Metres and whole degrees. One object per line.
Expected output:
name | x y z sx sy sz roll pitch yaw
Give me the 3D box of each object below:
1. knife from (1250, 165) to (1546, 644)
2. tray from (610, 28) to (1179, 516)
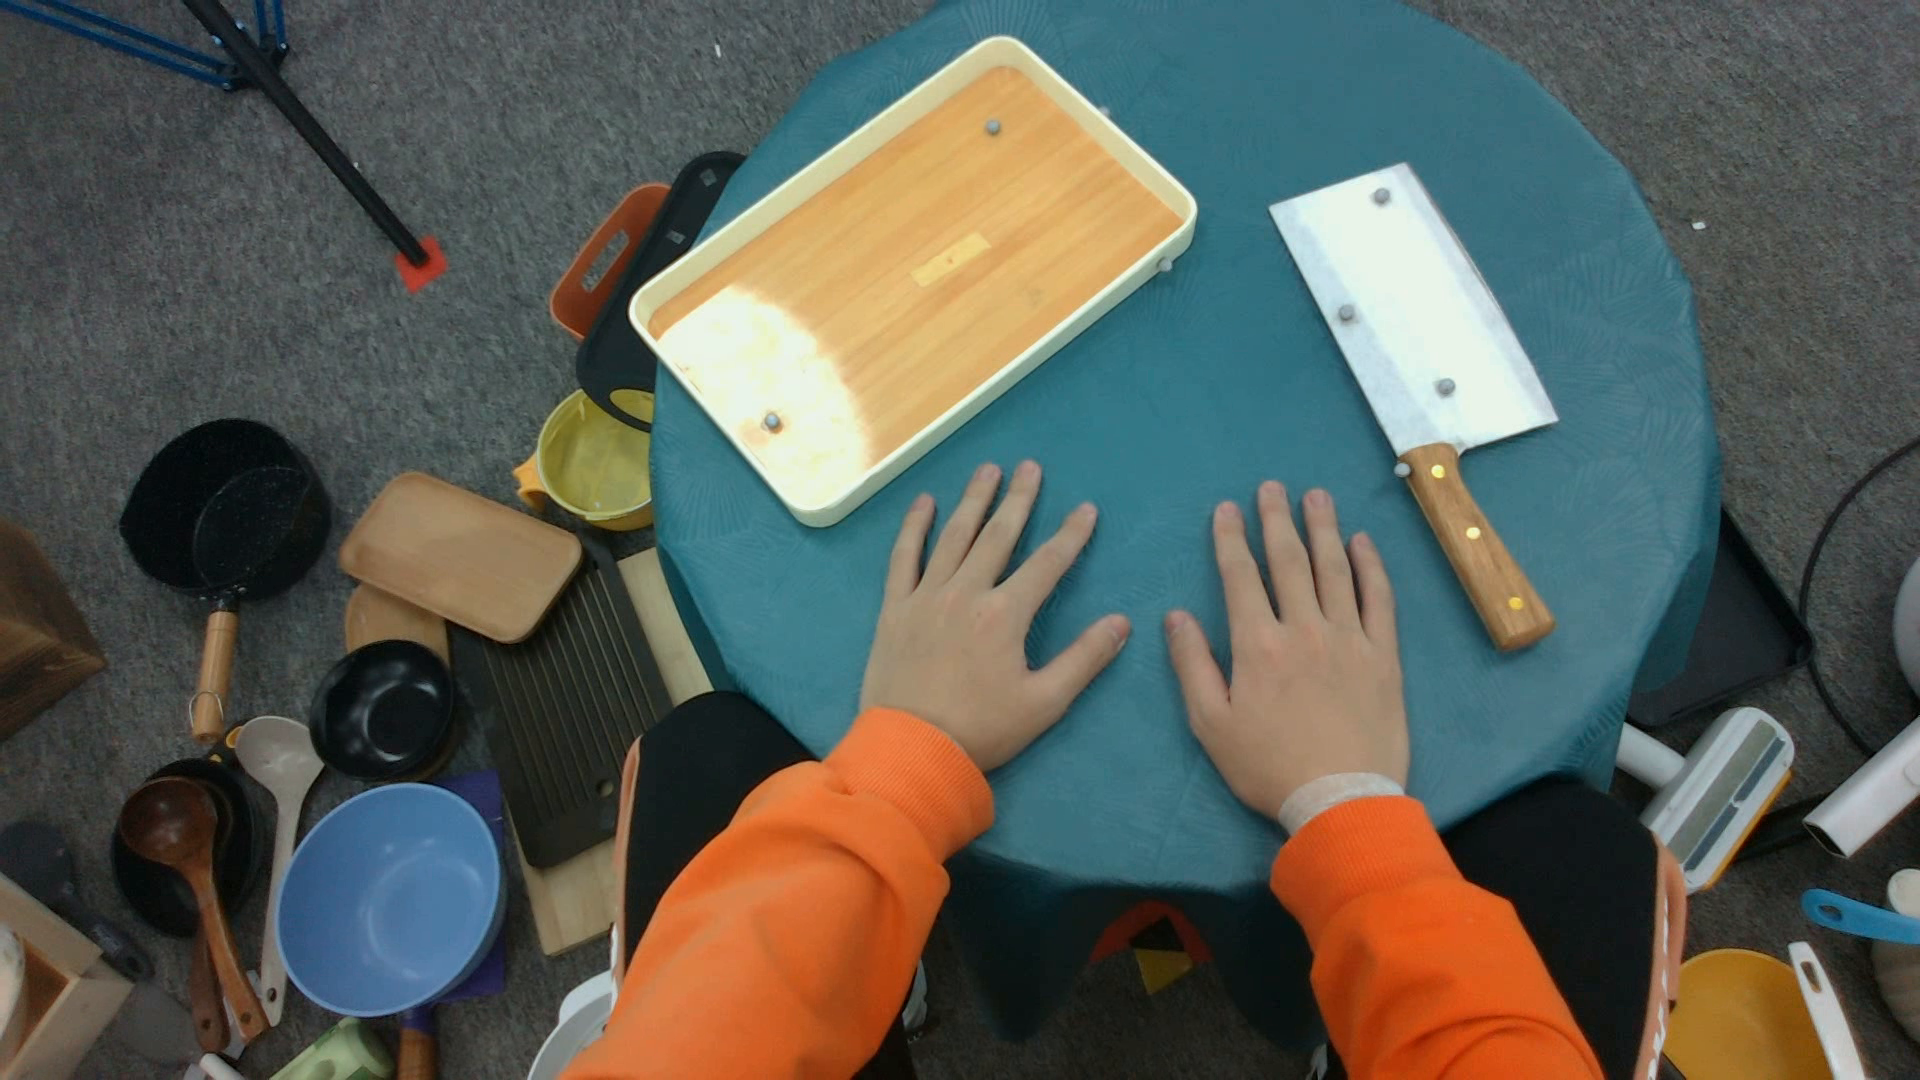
knife | 0.261 -0.089 0.765 0.093 0.021 0.306 -18 65 -4
tray | -0.038 -0.167 0.817 0.301 0.027 0.192 -39 70 -11
